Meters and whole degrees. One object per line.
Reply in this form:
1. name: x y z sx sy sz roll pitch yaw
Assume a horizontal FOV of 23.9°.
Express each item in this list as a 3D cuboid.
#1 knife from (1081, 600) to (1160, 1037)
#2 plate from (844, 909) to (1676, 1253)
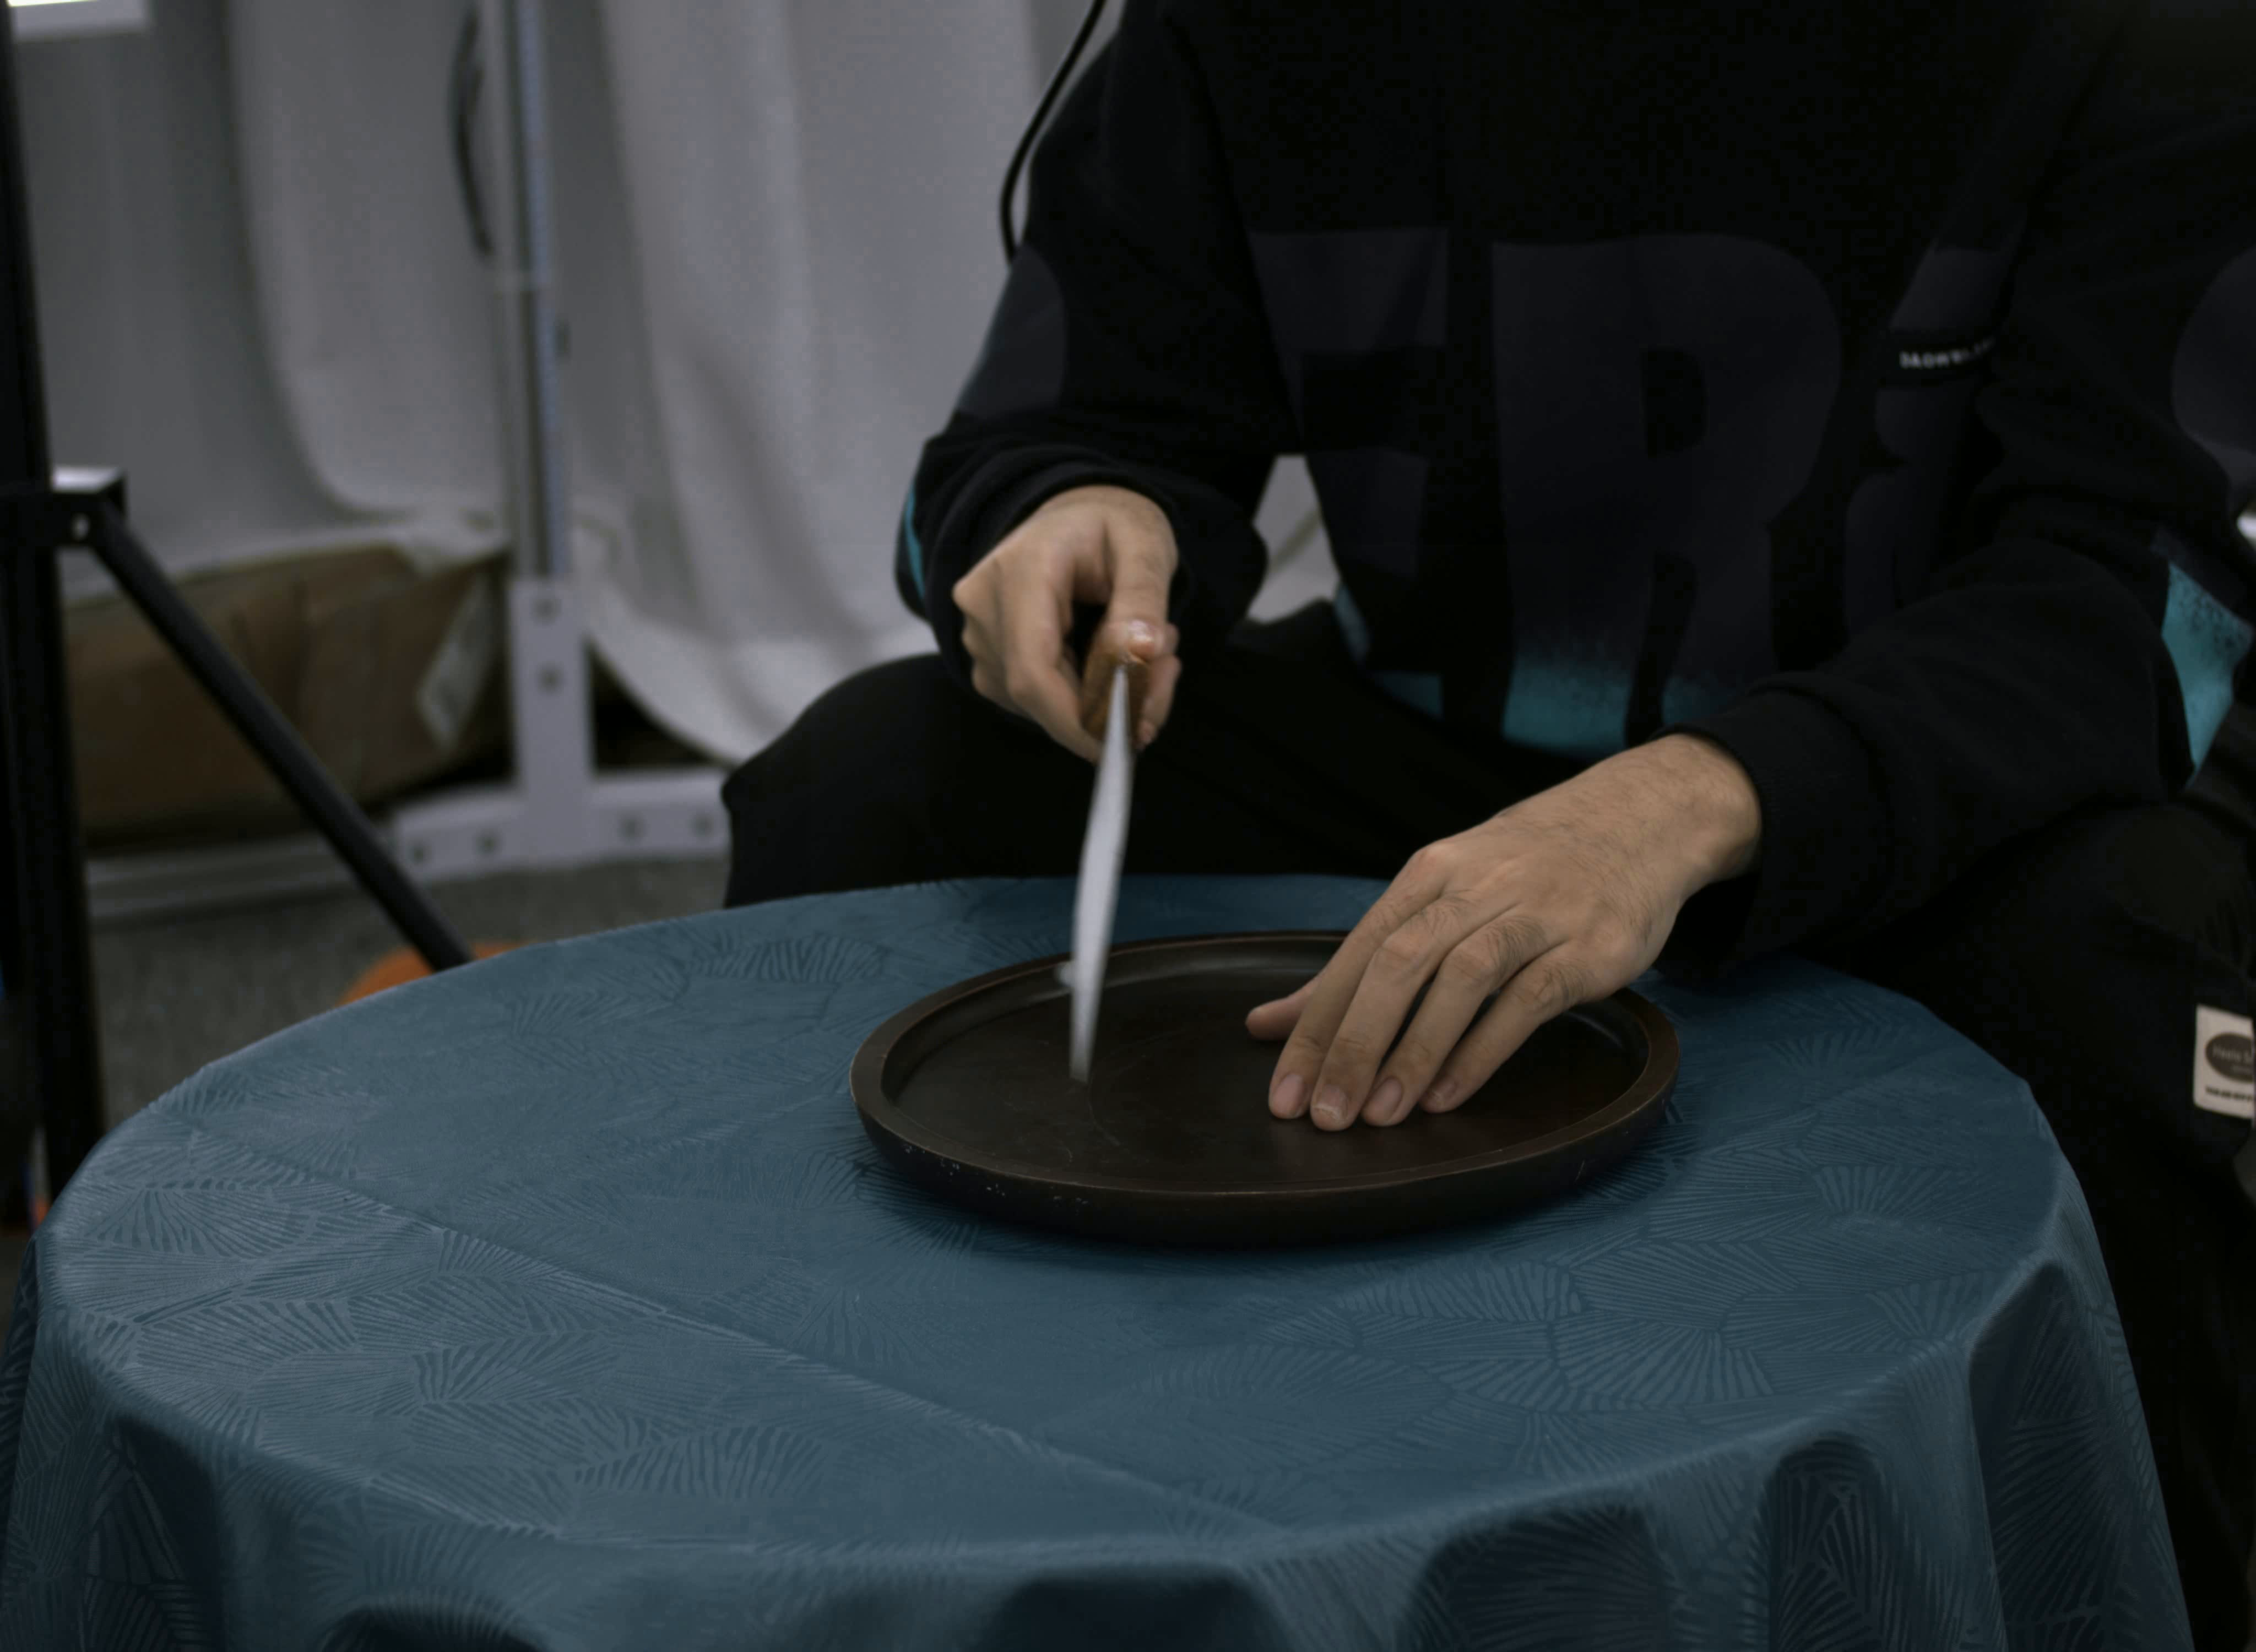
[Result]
1. knife: -0.004 -0.004 1.666 0.021 0.093 0.307 7 14 -3
2. plate: 0.040 0.078 1.610 0.253 0.029 0.256 -5 16 0
